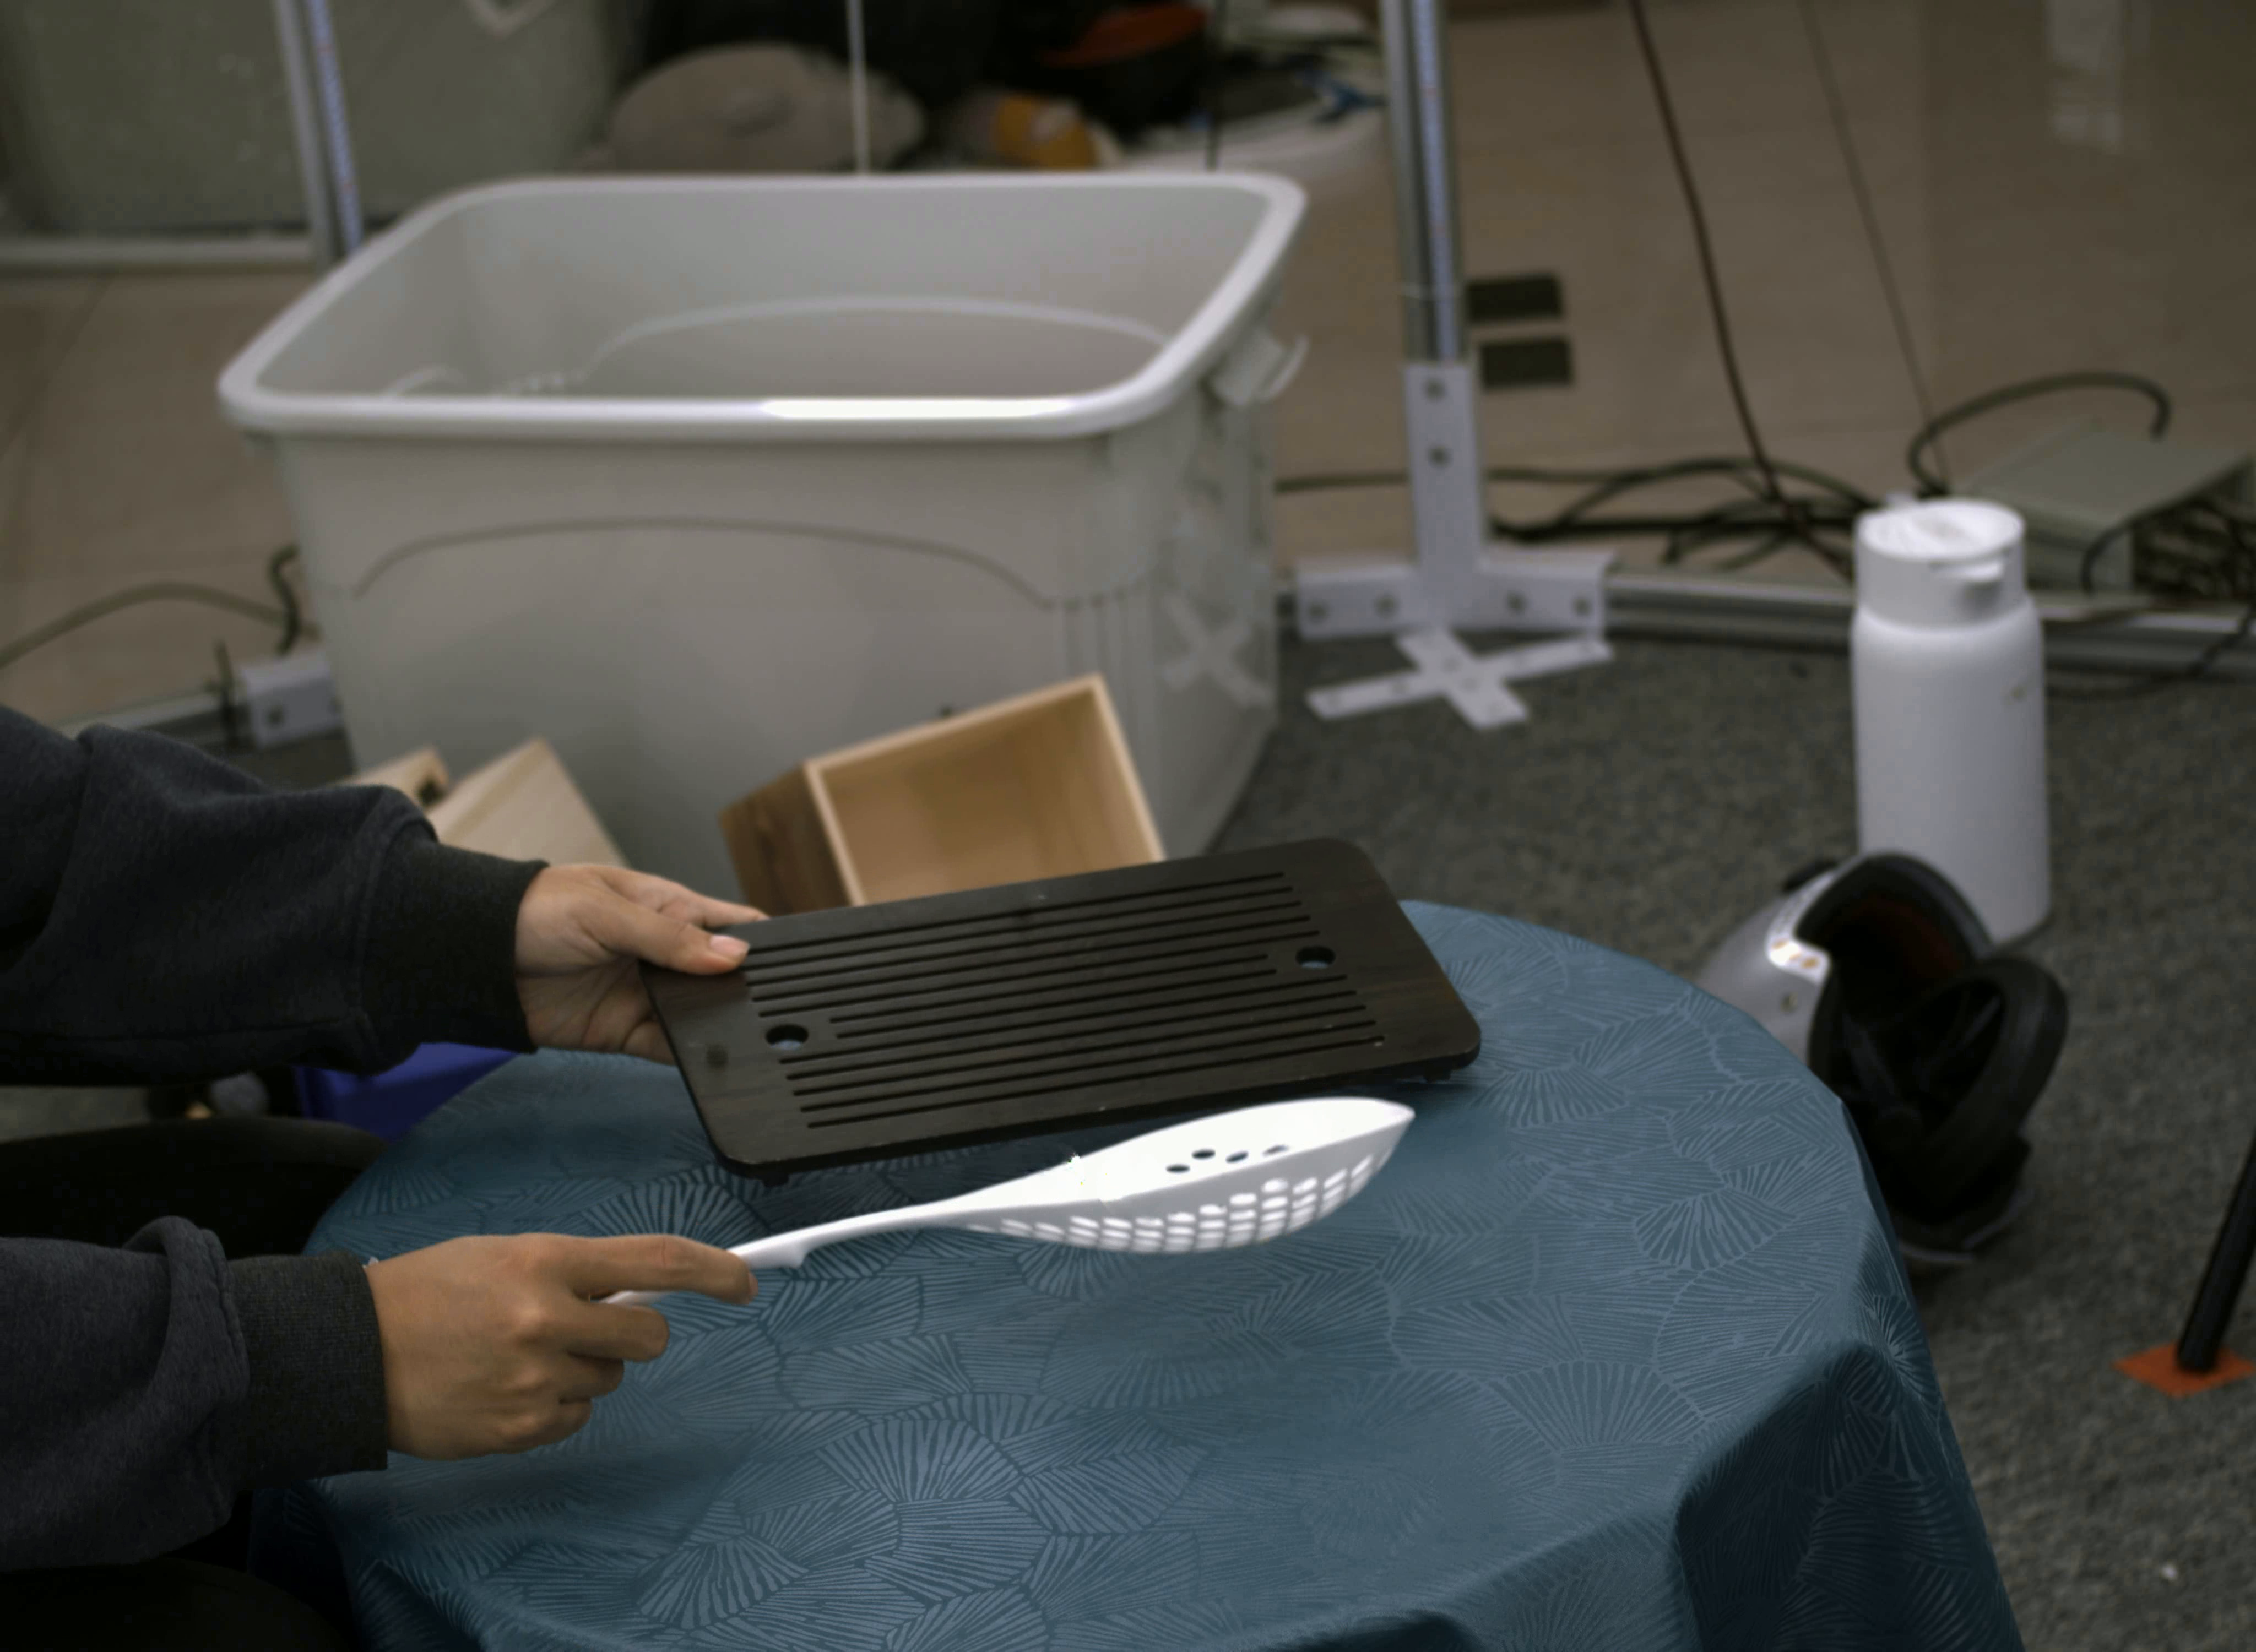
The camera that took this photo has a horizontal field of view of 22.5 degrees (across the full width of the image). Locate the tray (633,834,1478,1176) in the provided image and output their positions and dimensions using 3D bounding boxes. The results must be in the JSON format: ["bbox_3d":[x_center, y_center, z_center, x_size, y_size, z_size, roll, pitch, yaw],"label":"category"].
[{"bbox_3d":[-0.030,0.070,2.220,0.305,0.019,0.167,-8,32,-14],"label":"tray"}]

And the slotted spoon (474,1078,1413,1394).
[{"bbox_3d":[-0.065,0.144,2.012,0.347,0.050,0.136,-9,5,-13],"label":"slotted spoon"}]
